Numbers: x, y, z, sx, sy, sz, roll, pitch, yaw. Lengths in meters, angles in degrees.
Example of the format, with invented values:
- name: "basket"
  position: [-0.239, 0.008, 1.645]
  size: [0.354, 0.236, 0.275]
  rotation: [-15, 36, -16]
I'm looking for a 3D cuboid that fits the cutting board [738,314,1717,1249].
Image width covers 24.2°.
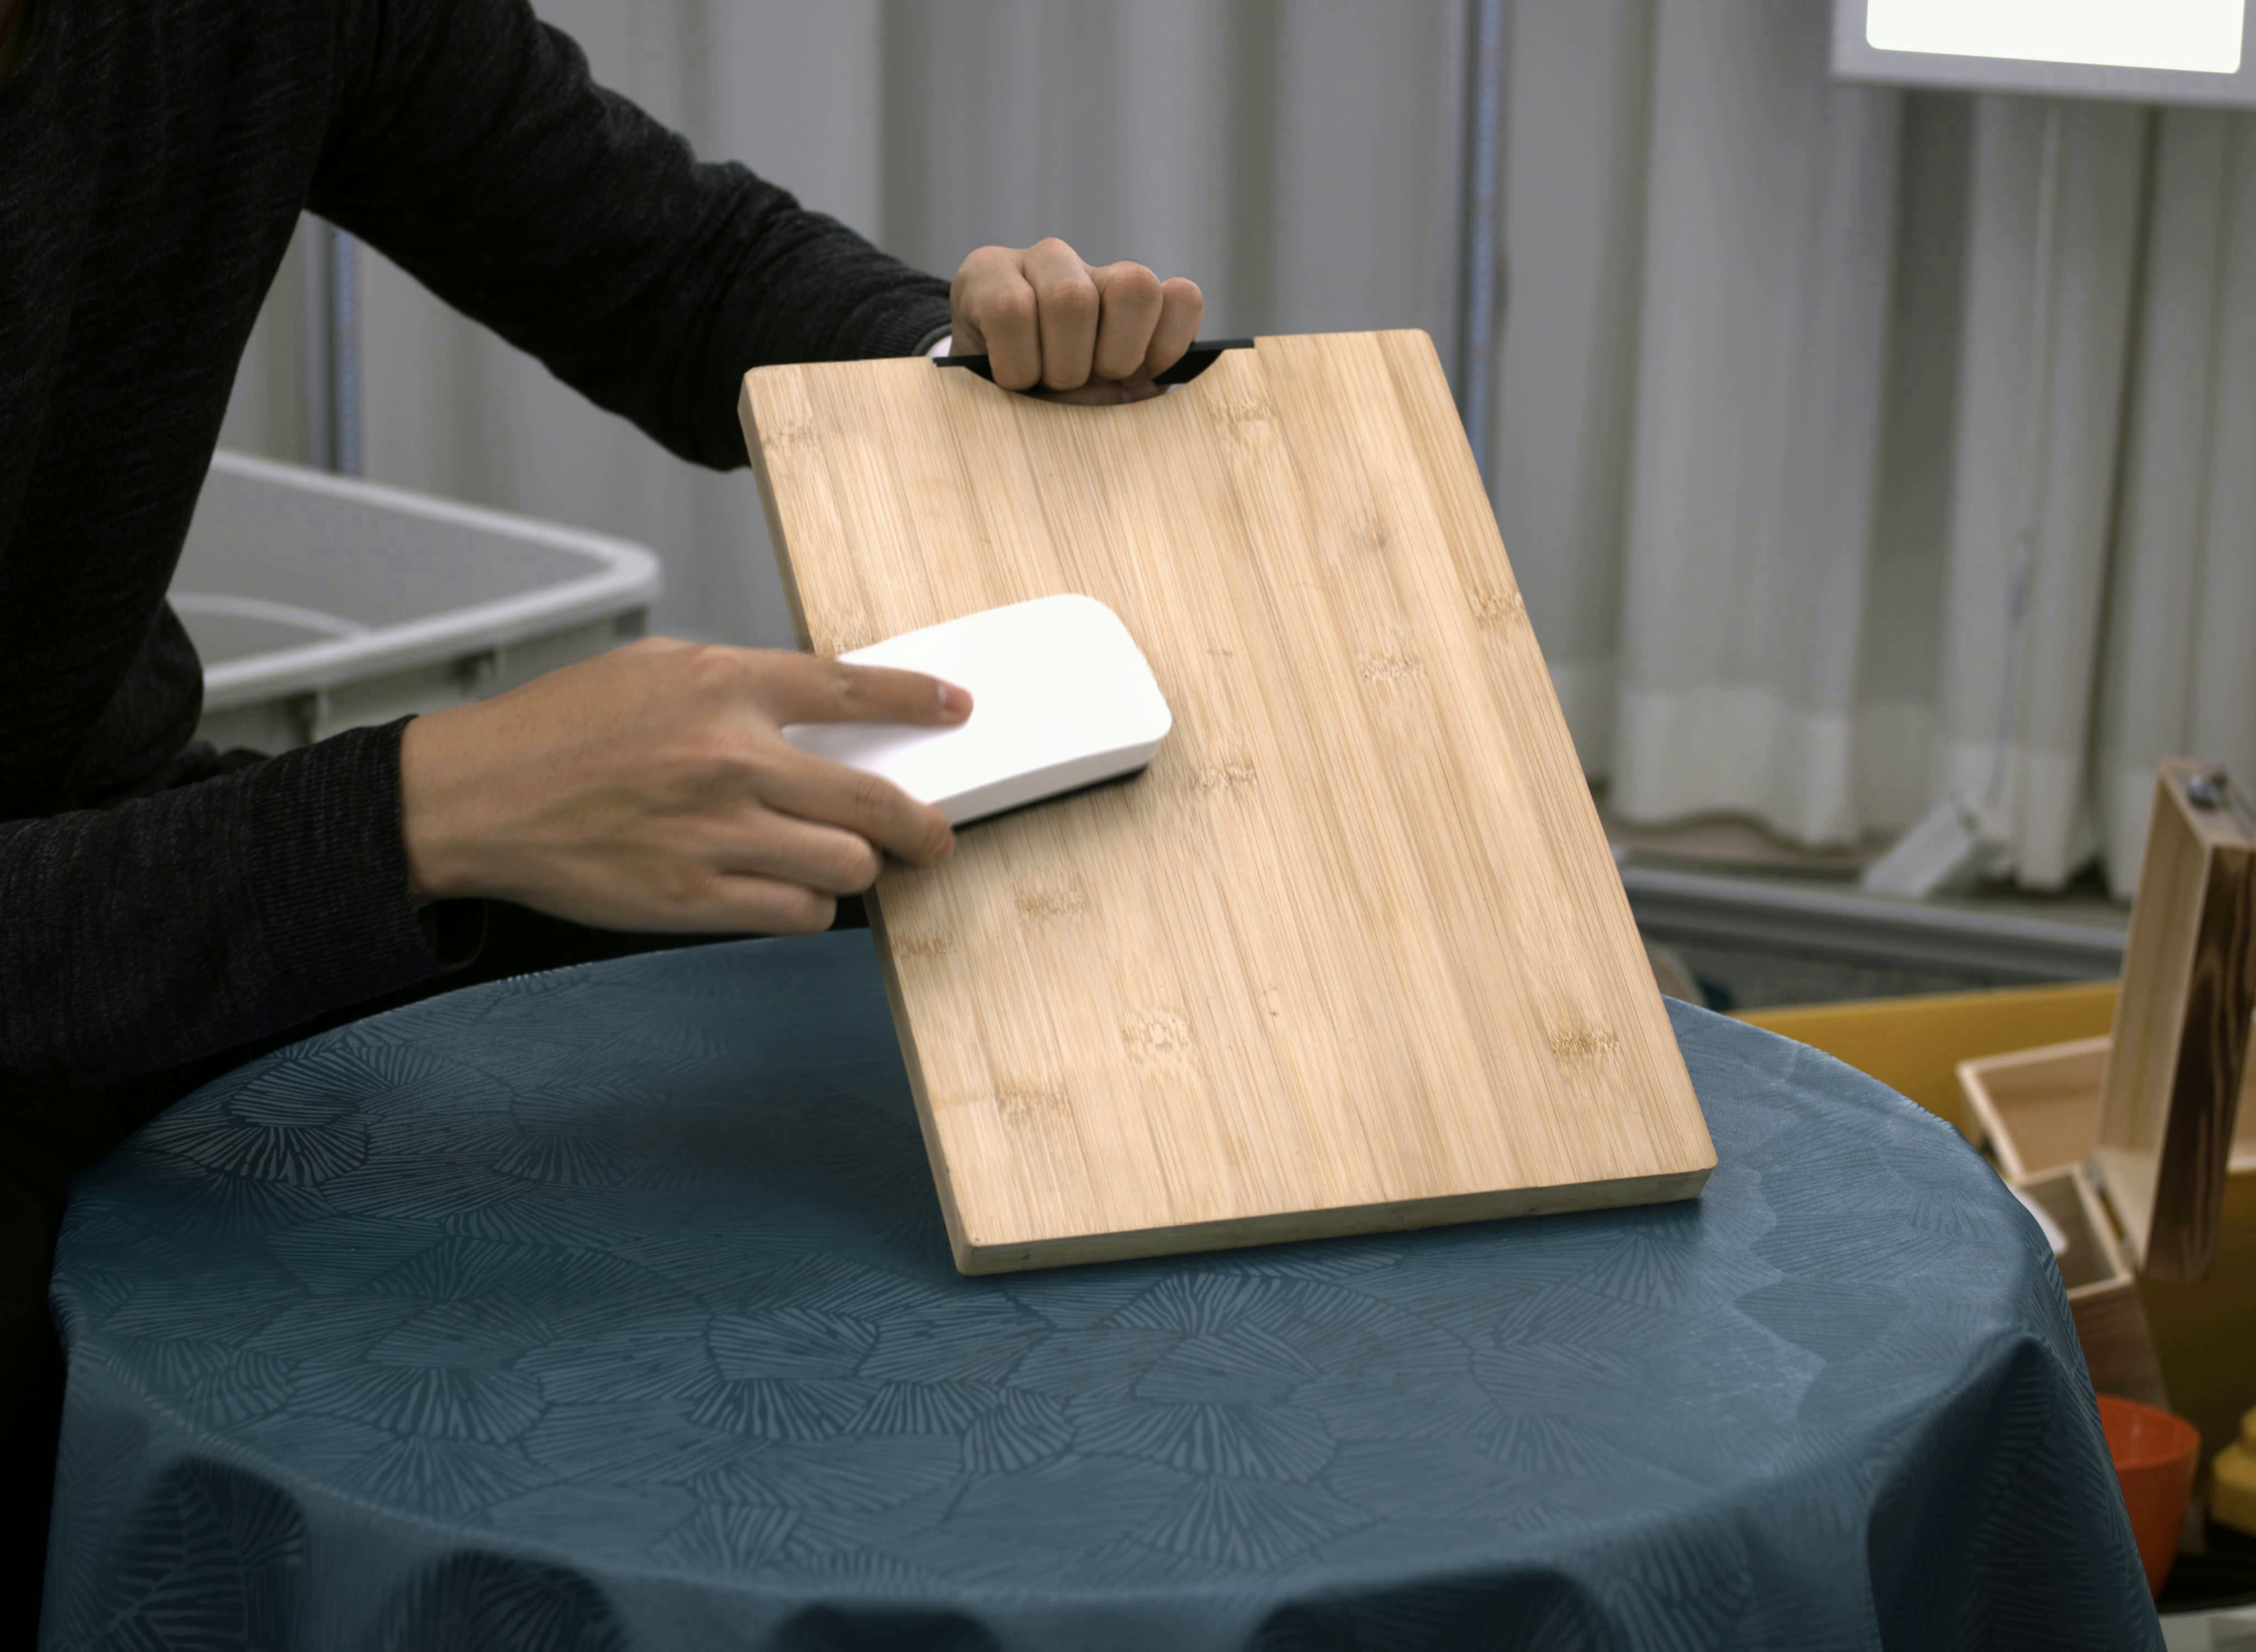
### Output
- name: "cutting board"
  position: [0.025, -0.022, 1.670]
  size: [0.251, 0.024, 0.345]
  rotation: [-5, 56, -19]

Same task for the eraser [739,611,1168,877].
- name: "eraser"
  position: [-0.055, -0.028, 1.621]
  size: [0.131, 0.035, 0.063]
  rotation: [-16, 59, -26]
